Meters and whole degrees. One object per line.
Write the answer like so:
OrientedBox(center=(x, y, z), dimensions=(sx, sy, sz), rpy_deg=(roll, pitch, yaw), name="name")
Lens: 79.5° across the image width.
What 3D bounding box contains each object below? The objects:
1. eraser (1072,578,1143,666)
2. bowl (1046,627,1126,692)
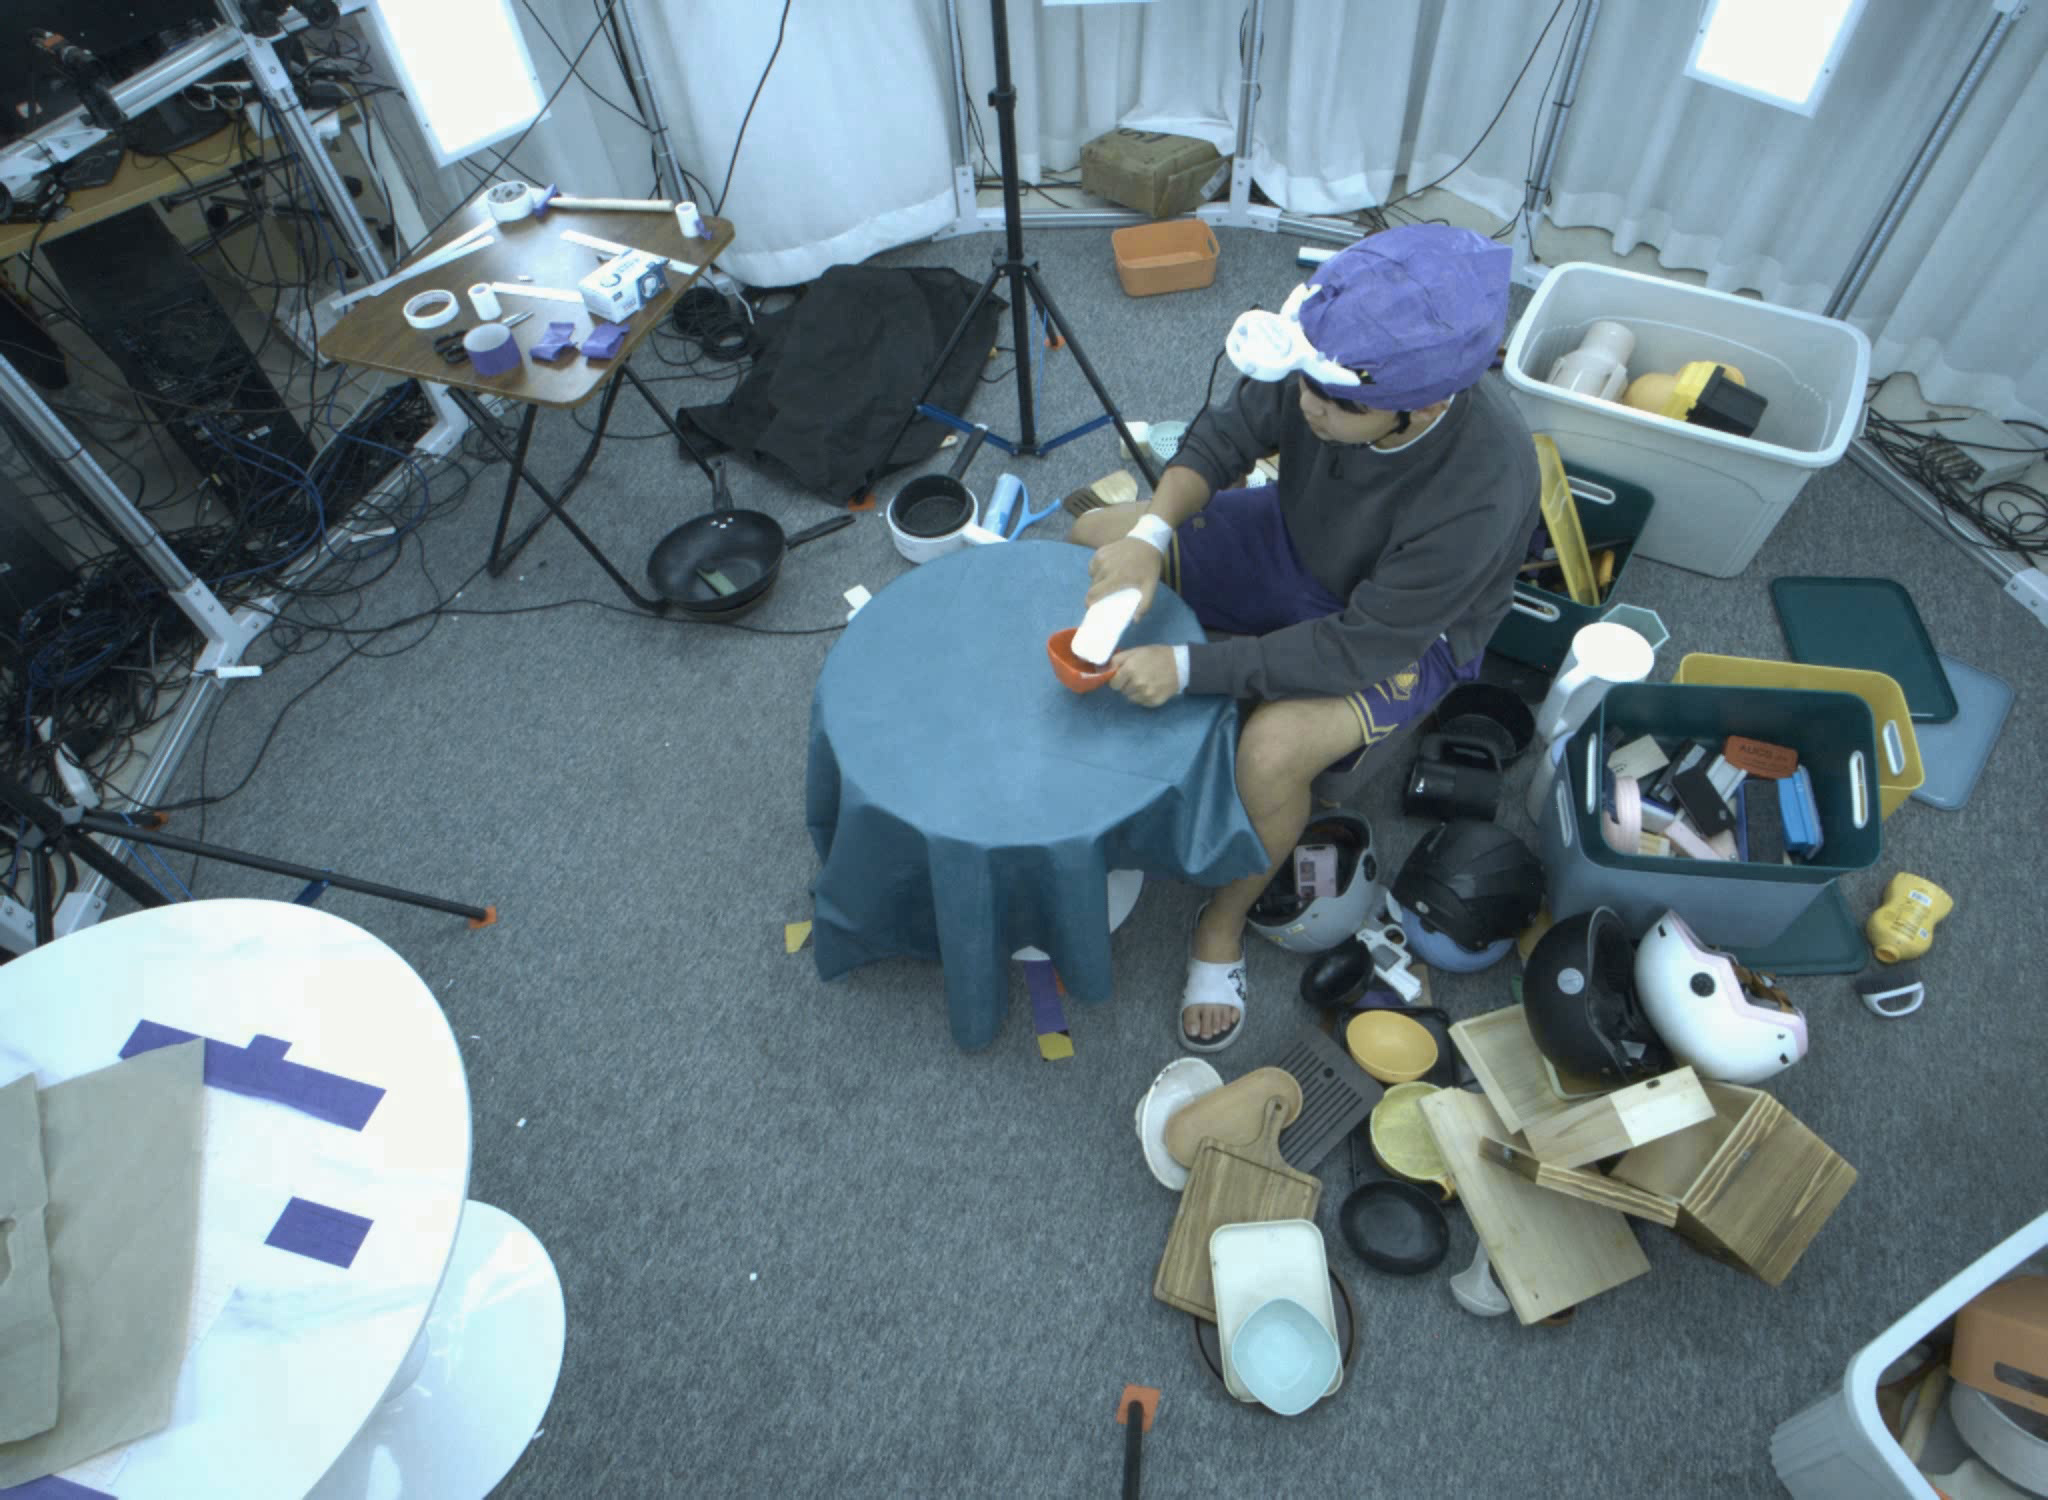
OrientedBox(center=(0.125, -0.189, 1.821), dimensions=(0.062, 0.035, 0.131), rpy_deg=(28, 83, 17), name="eraser")
OrientedBox(center=(0.086, -0.127, 1.812), dimensions=(0.120, 0.051, 0.117), rpy_deg=(11, 39, -8), name="bowl")
